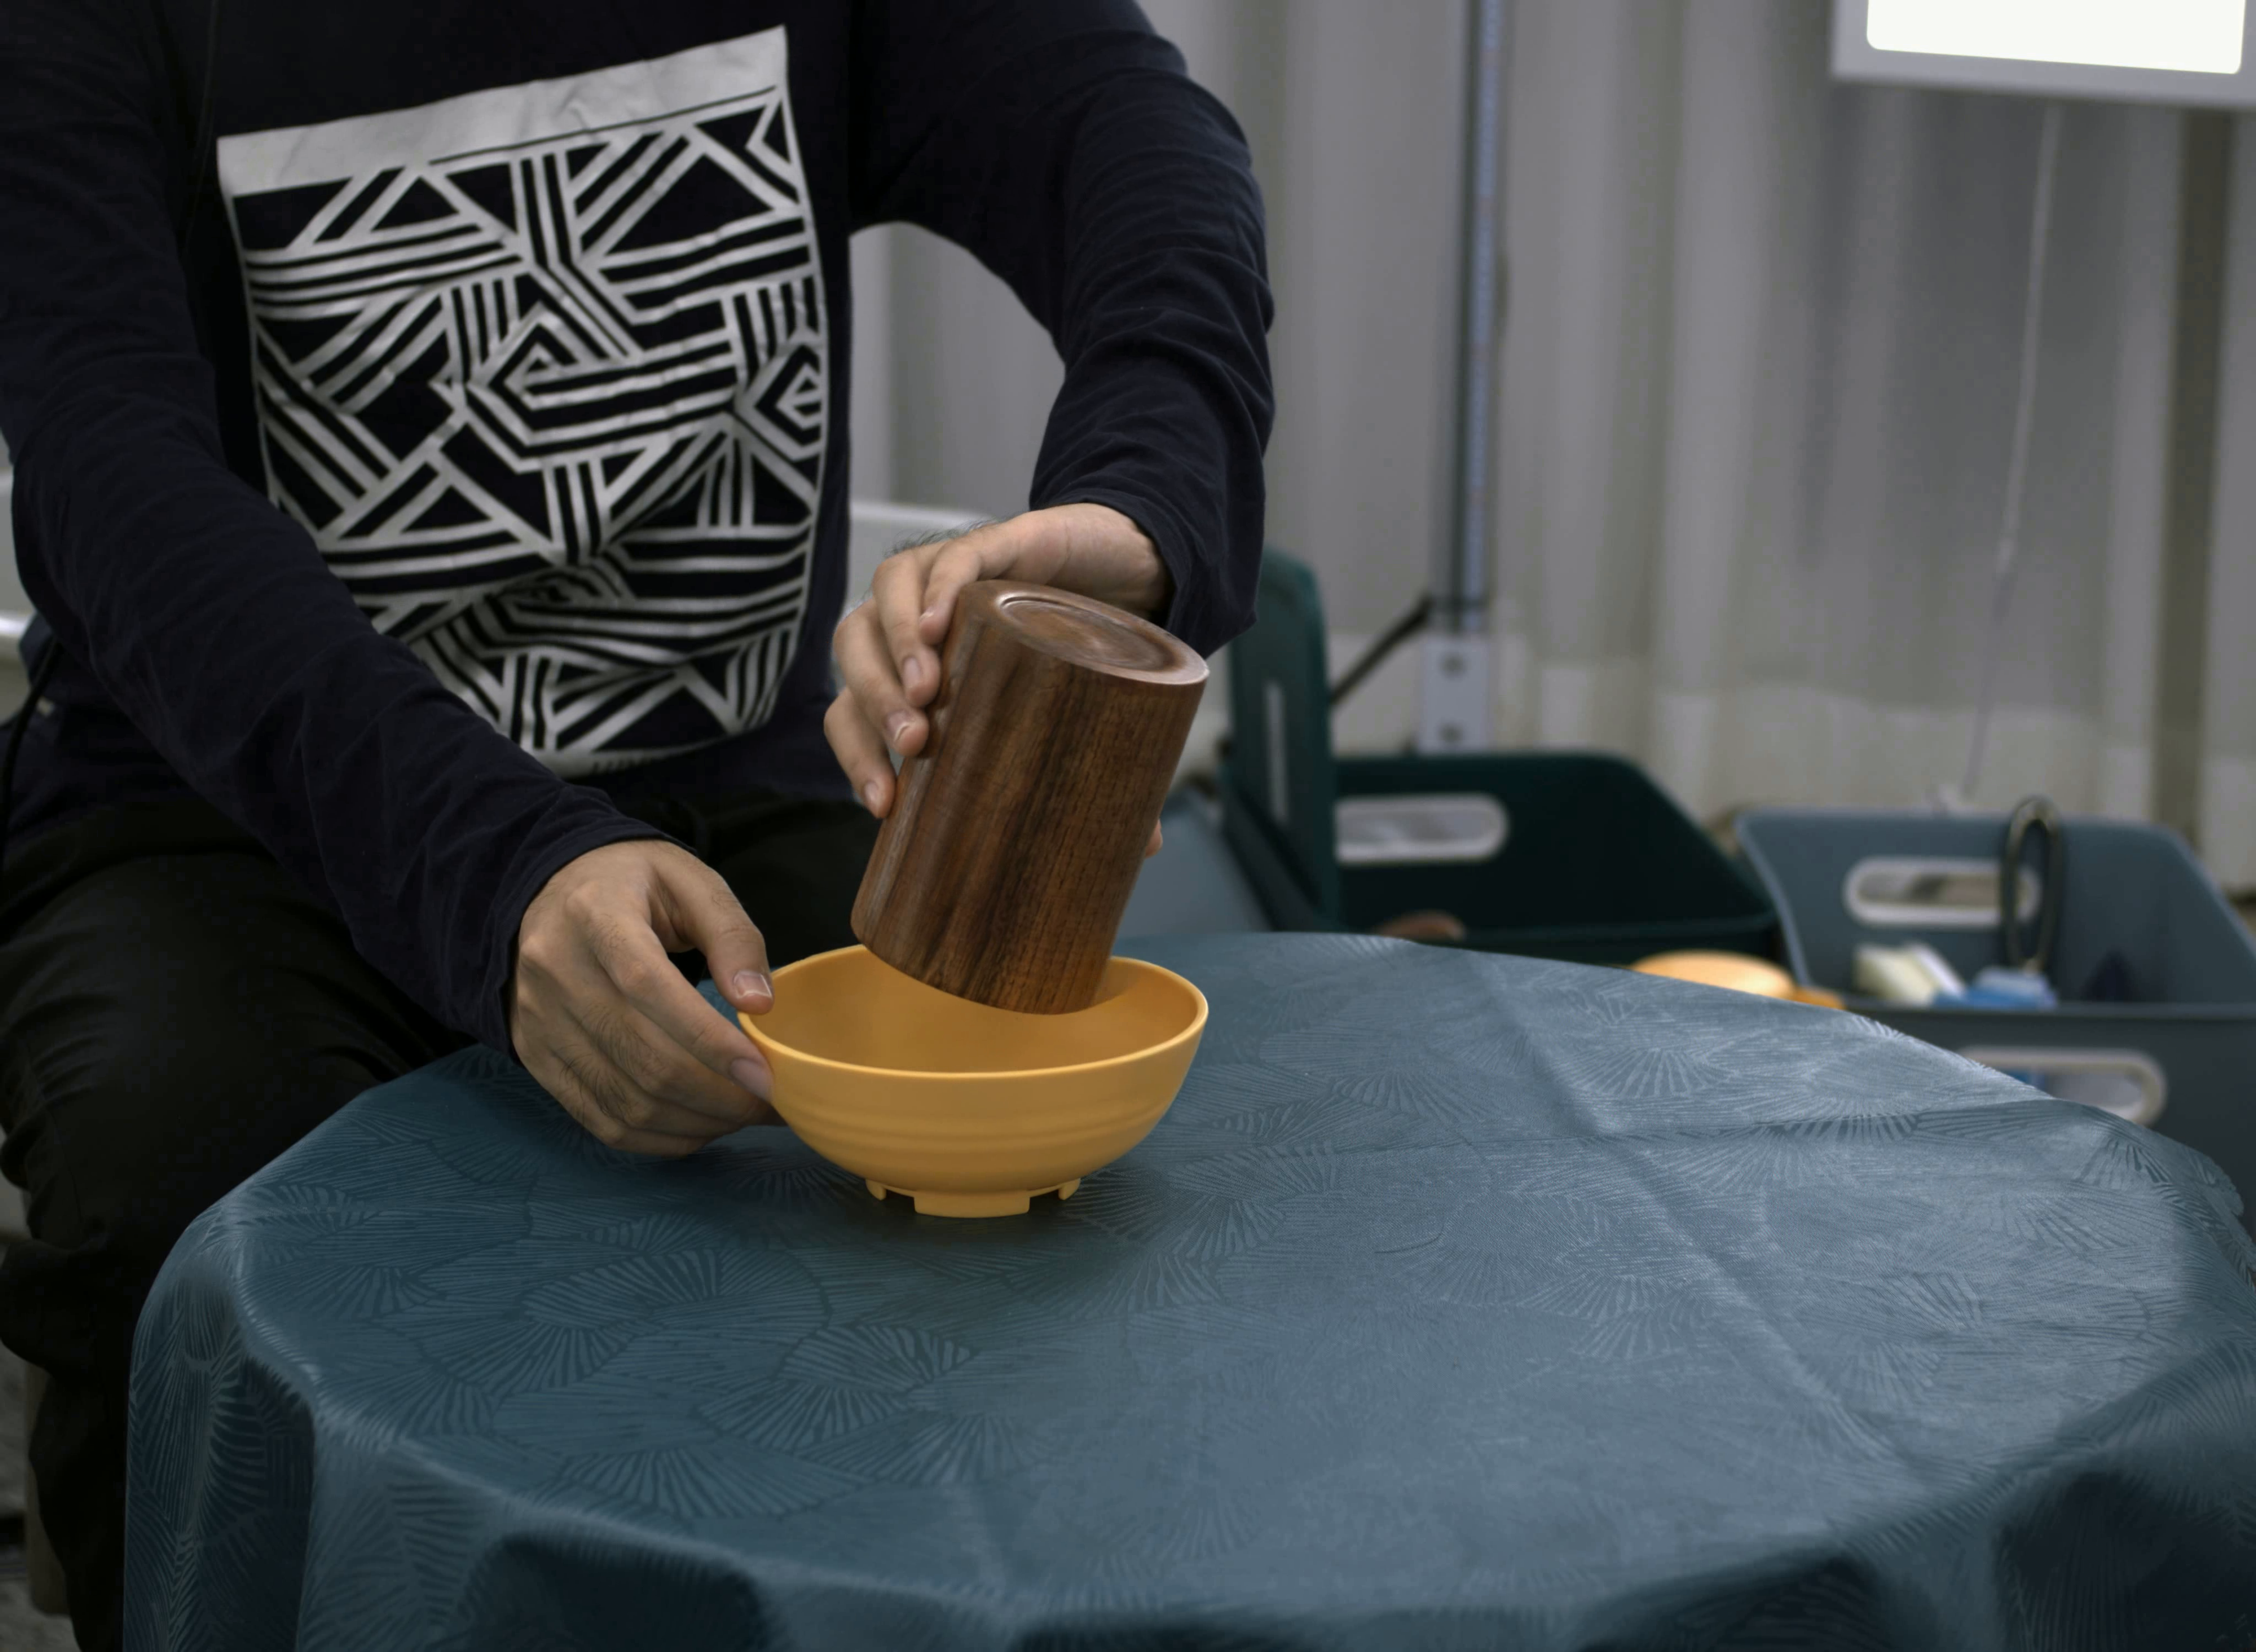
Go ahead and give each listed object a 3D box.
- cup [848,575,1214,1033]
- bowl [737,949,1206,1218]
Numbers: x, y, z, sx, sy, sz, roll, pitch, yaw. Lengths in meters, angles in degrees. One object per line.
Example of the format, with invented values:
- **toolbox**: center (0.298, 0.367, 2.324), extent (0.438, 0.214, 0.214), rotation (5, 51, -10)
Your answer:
- **cup**: center (-0.029, -0.006, 1.600), extent (0.088, 0.119, 0.087), rotation (19, 18, -6)
- **bowl**: center (-0.048, 0.083, 1.622), extent (0.145, 0.060, 0.144), rotation (1, 14, 0)
